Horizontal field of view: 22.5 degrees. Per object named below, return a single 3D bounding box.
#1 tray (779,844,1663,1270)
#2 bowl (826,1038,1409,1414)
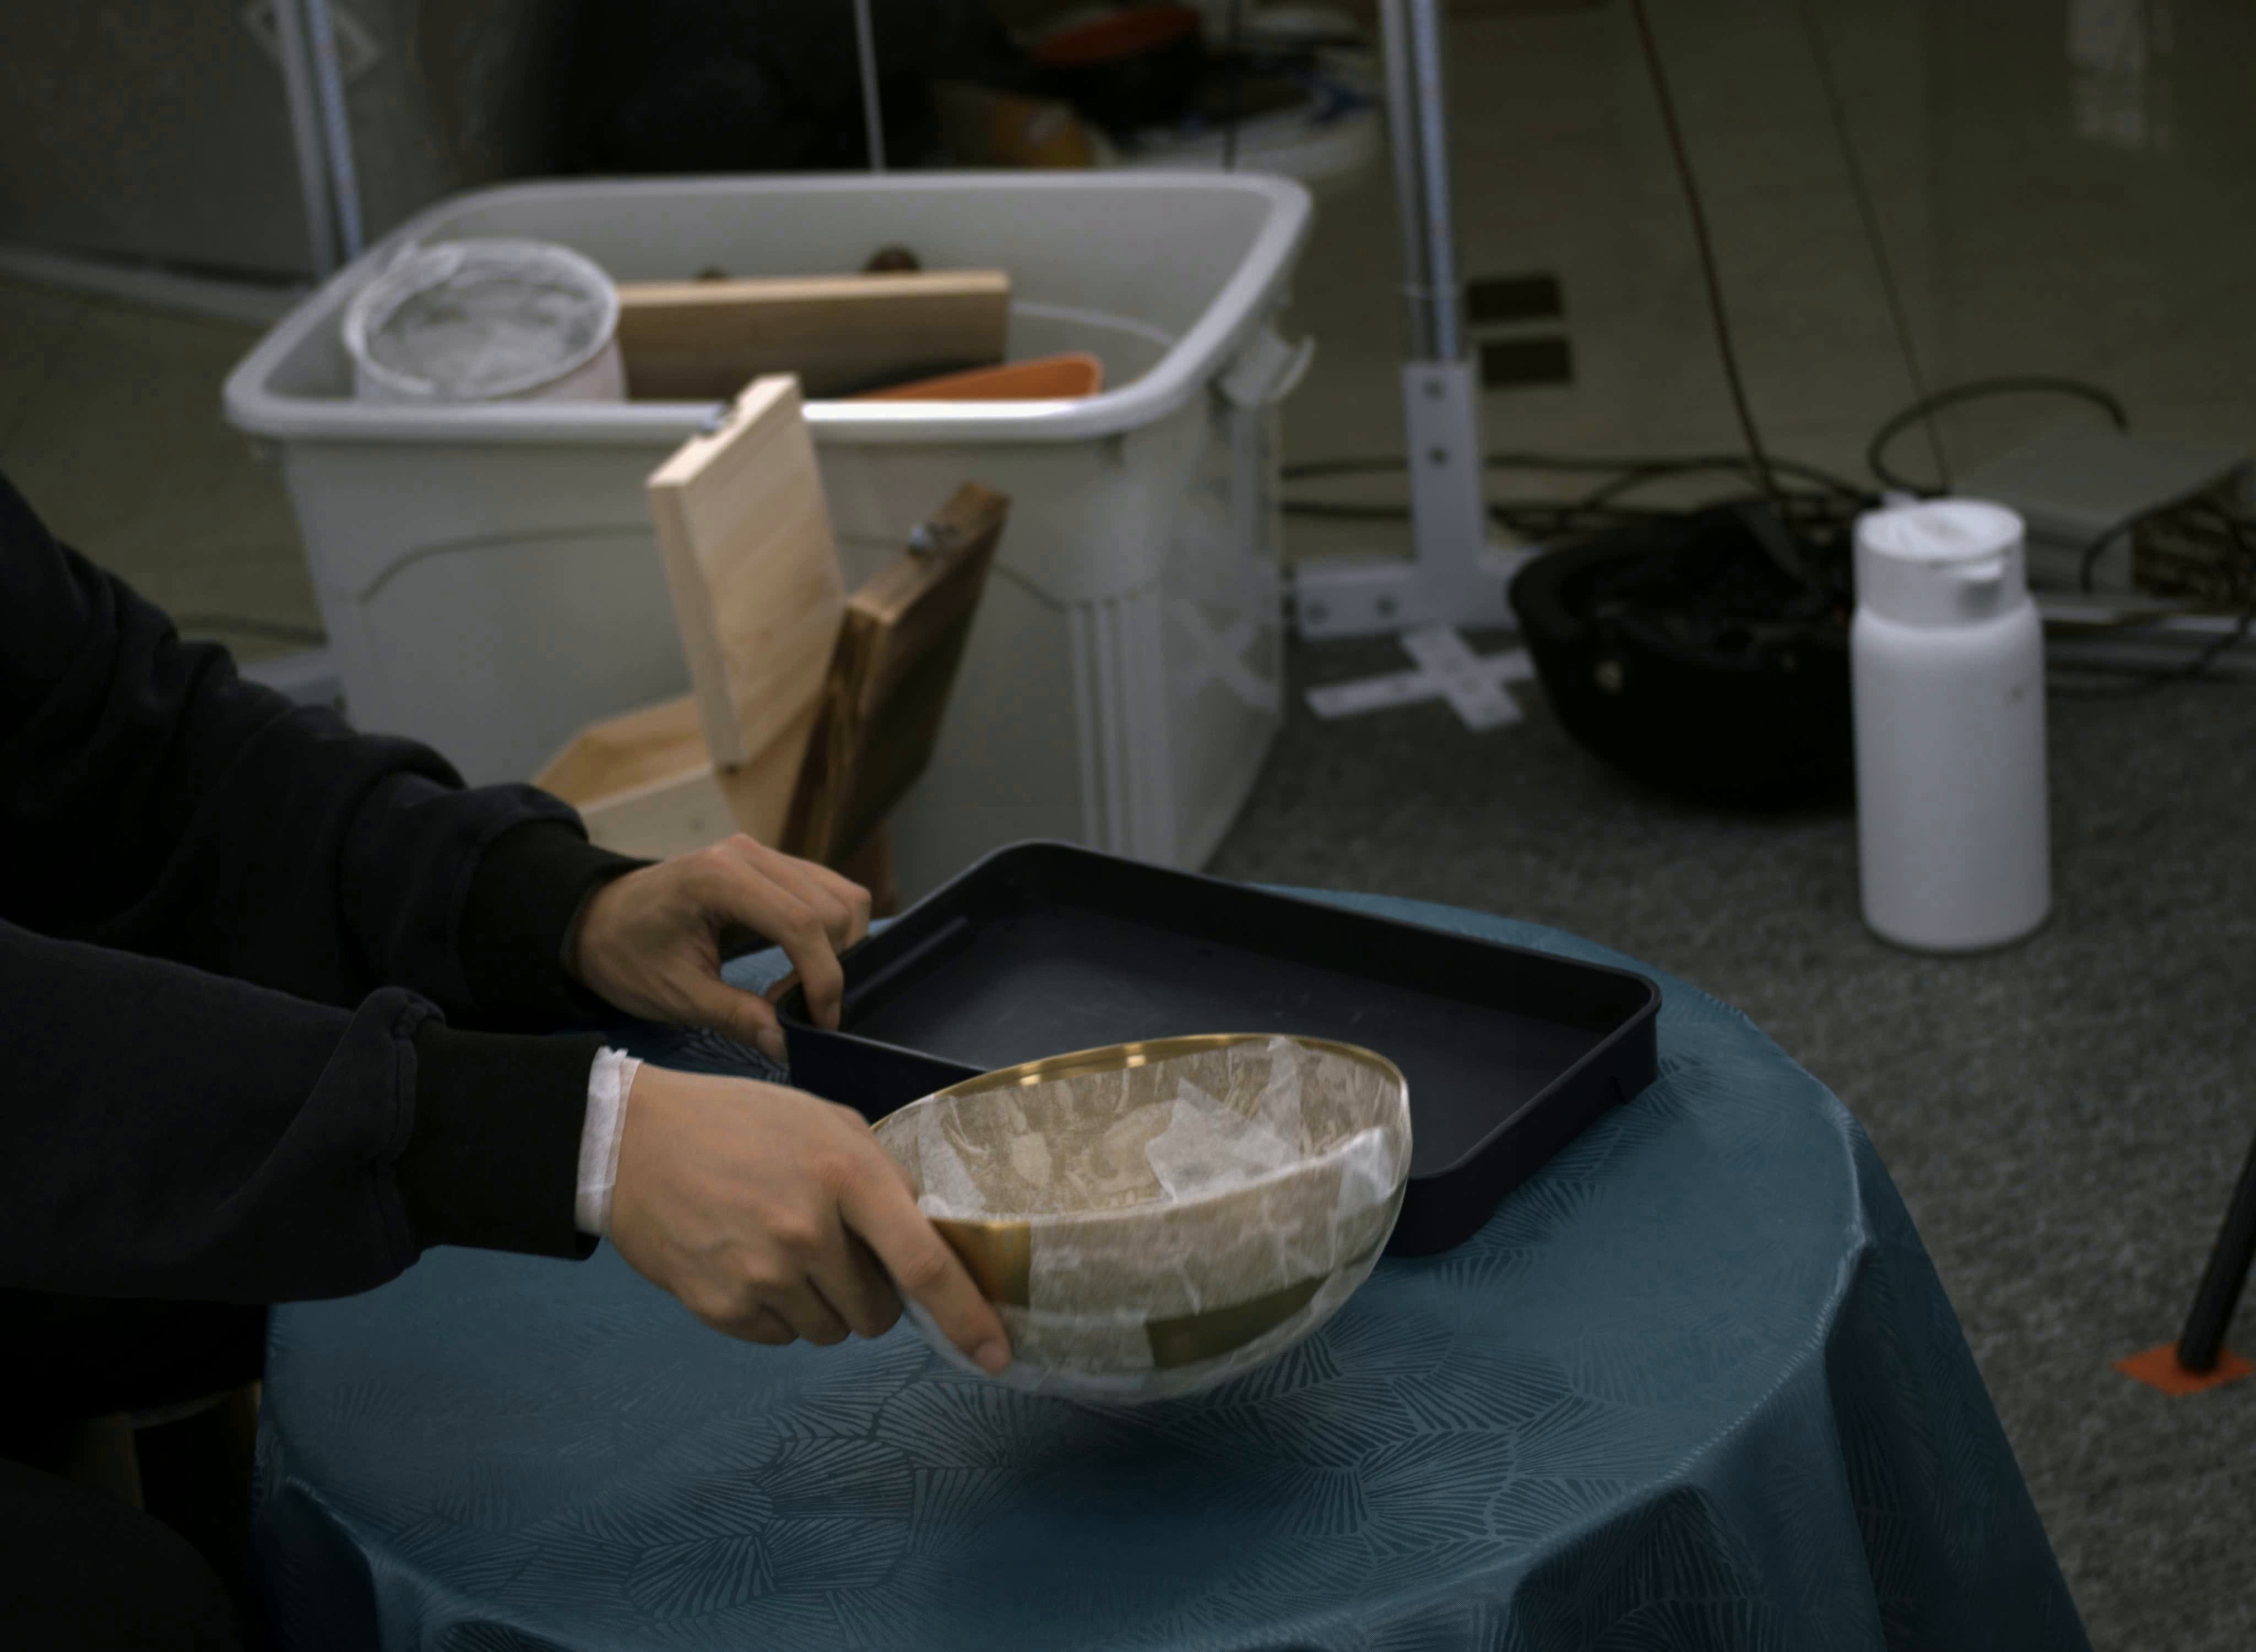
[{"bbox_3d":[0.035,0.086,2.215,0.316,0.037,0.182,15,31,34],"label":"tray"},{"bbox_3d":[0.003,0.148,1.985,0.214,0.095,0.212,-8,16,3],"label":"bowl"}]
